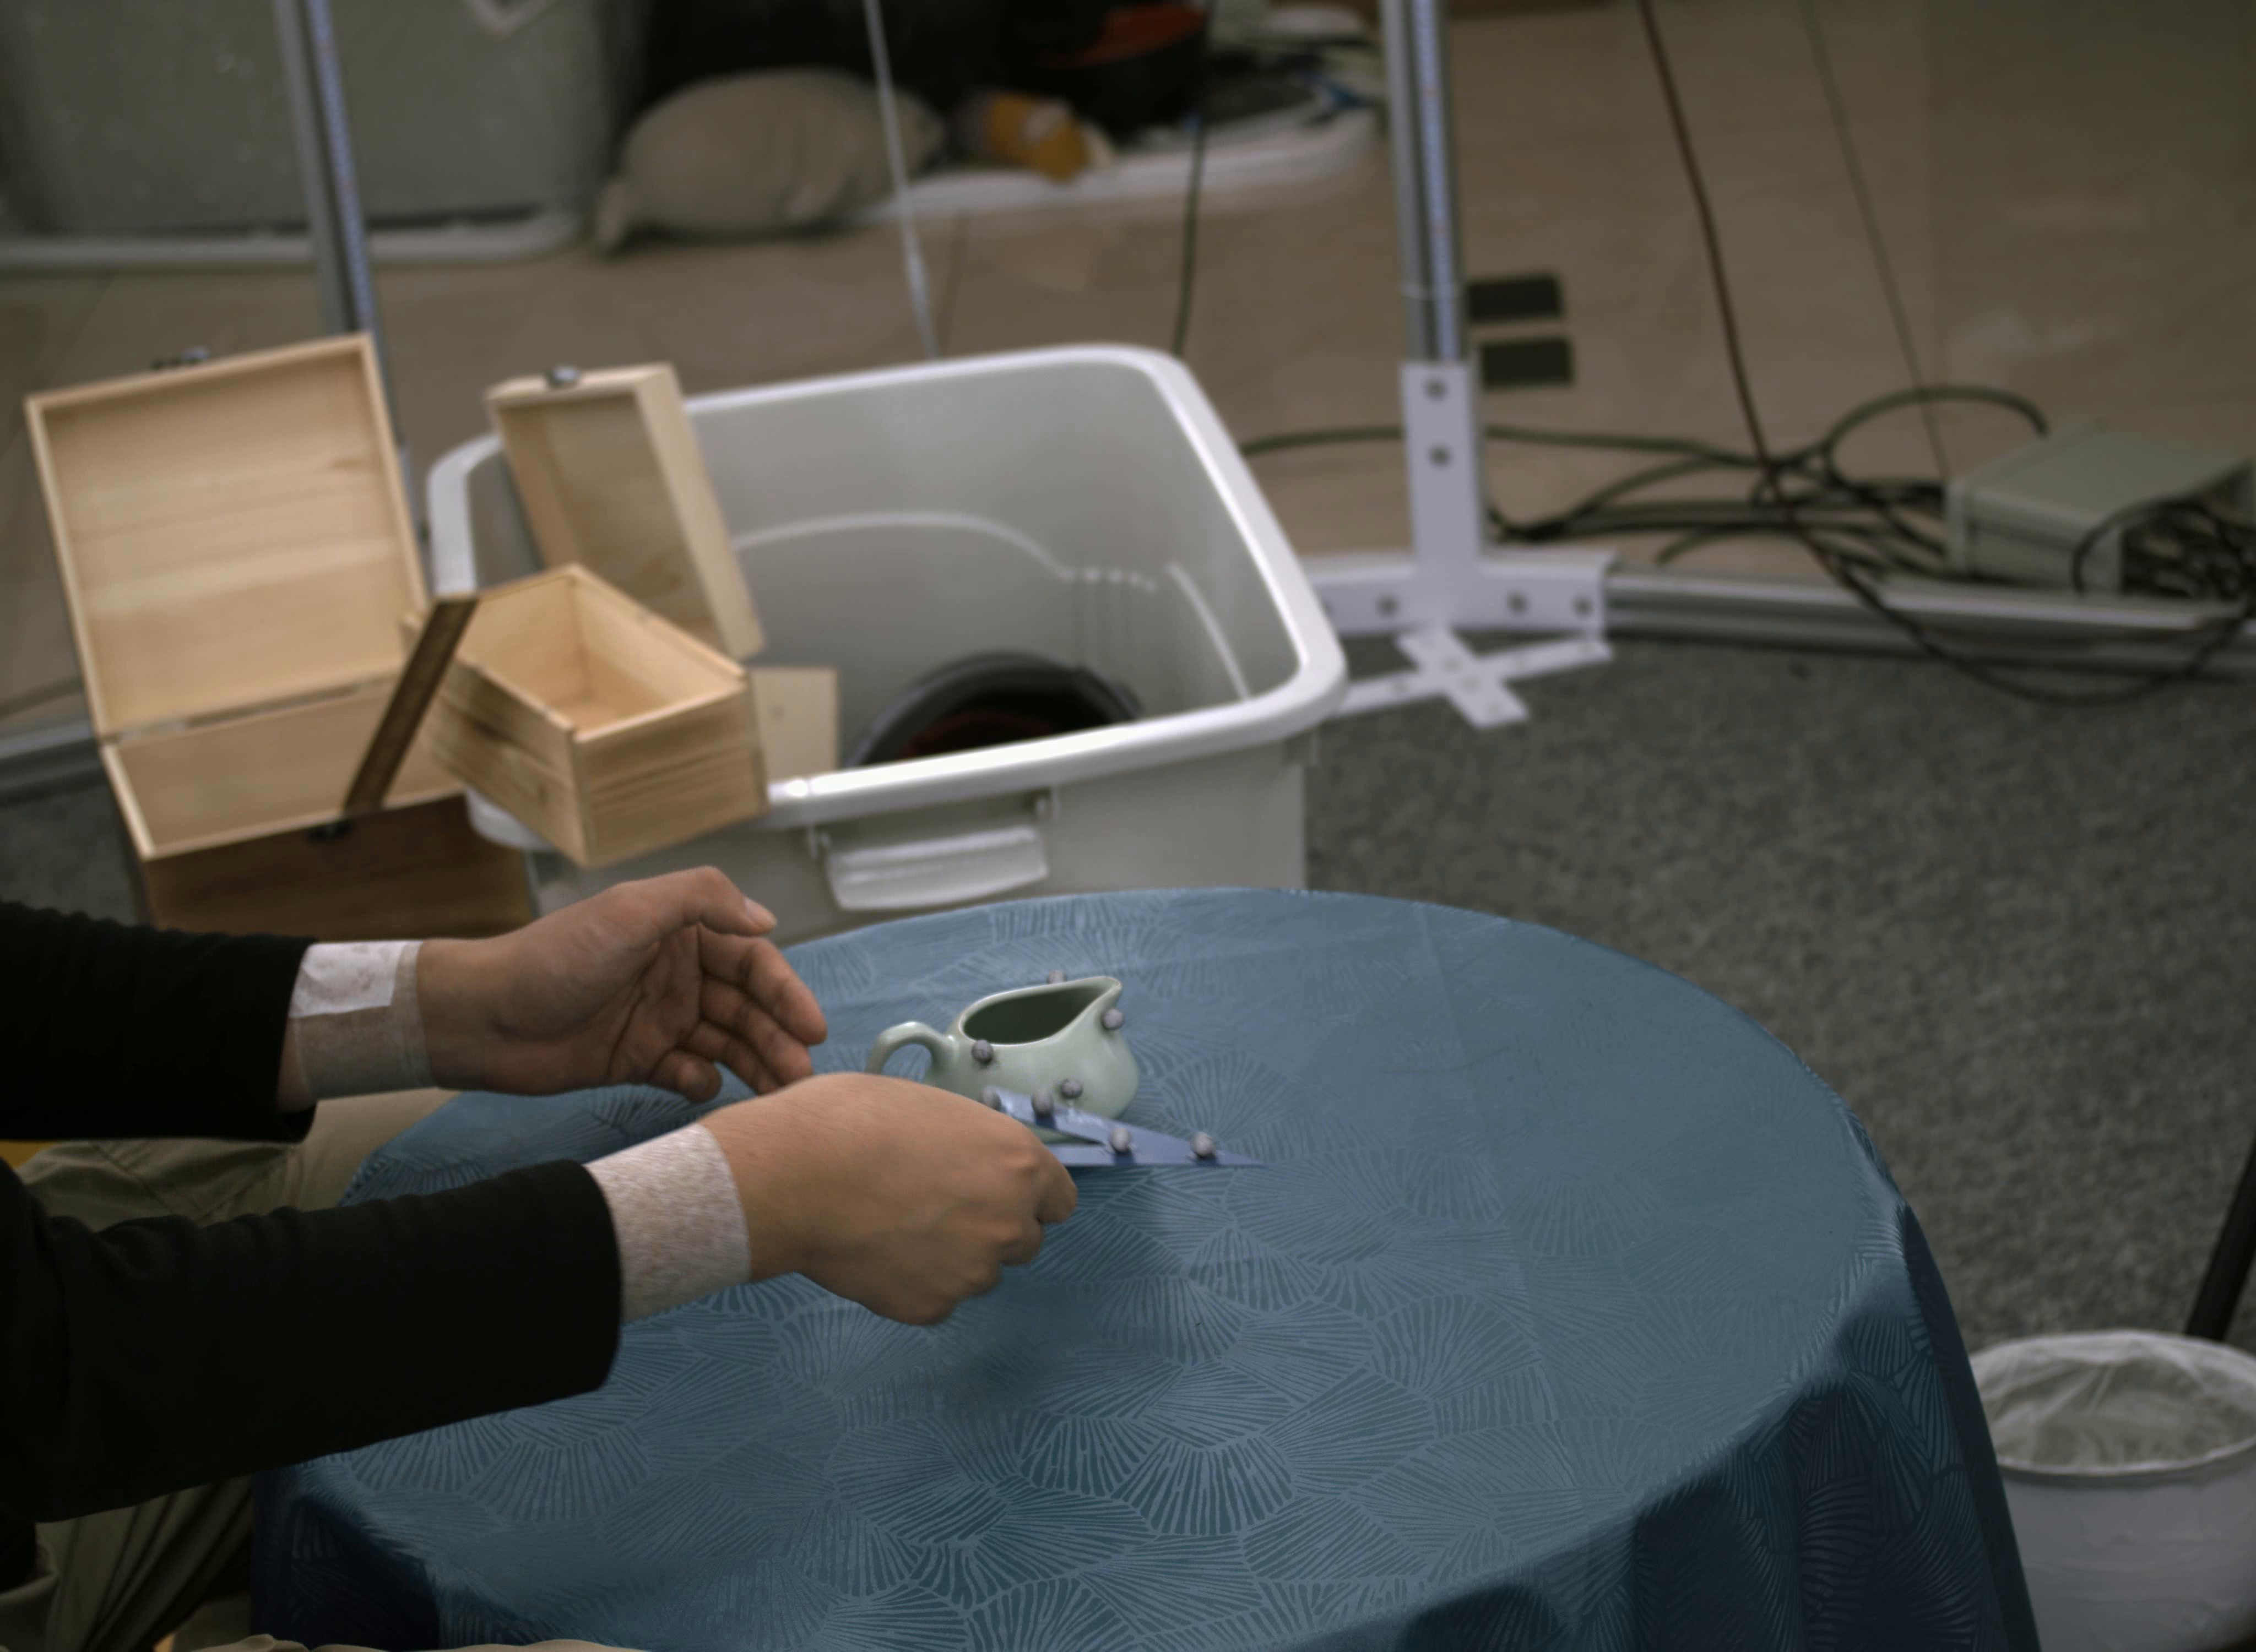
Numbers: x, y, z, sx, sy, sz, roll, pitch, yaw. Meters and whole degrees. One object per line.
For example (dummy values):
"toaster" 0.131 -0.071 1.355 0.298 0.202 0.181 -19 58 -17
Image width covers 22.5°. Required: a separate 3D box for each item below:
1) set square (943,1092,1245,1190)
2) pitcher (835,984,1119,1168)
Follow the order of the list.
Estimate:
"set square" -0.020 0.119 2.030 0.061 0.006 0.131 -22 26 -38
"pitcher" -0.061 0.092 2.181 0.108 0.061 0.084 8 34 -9
